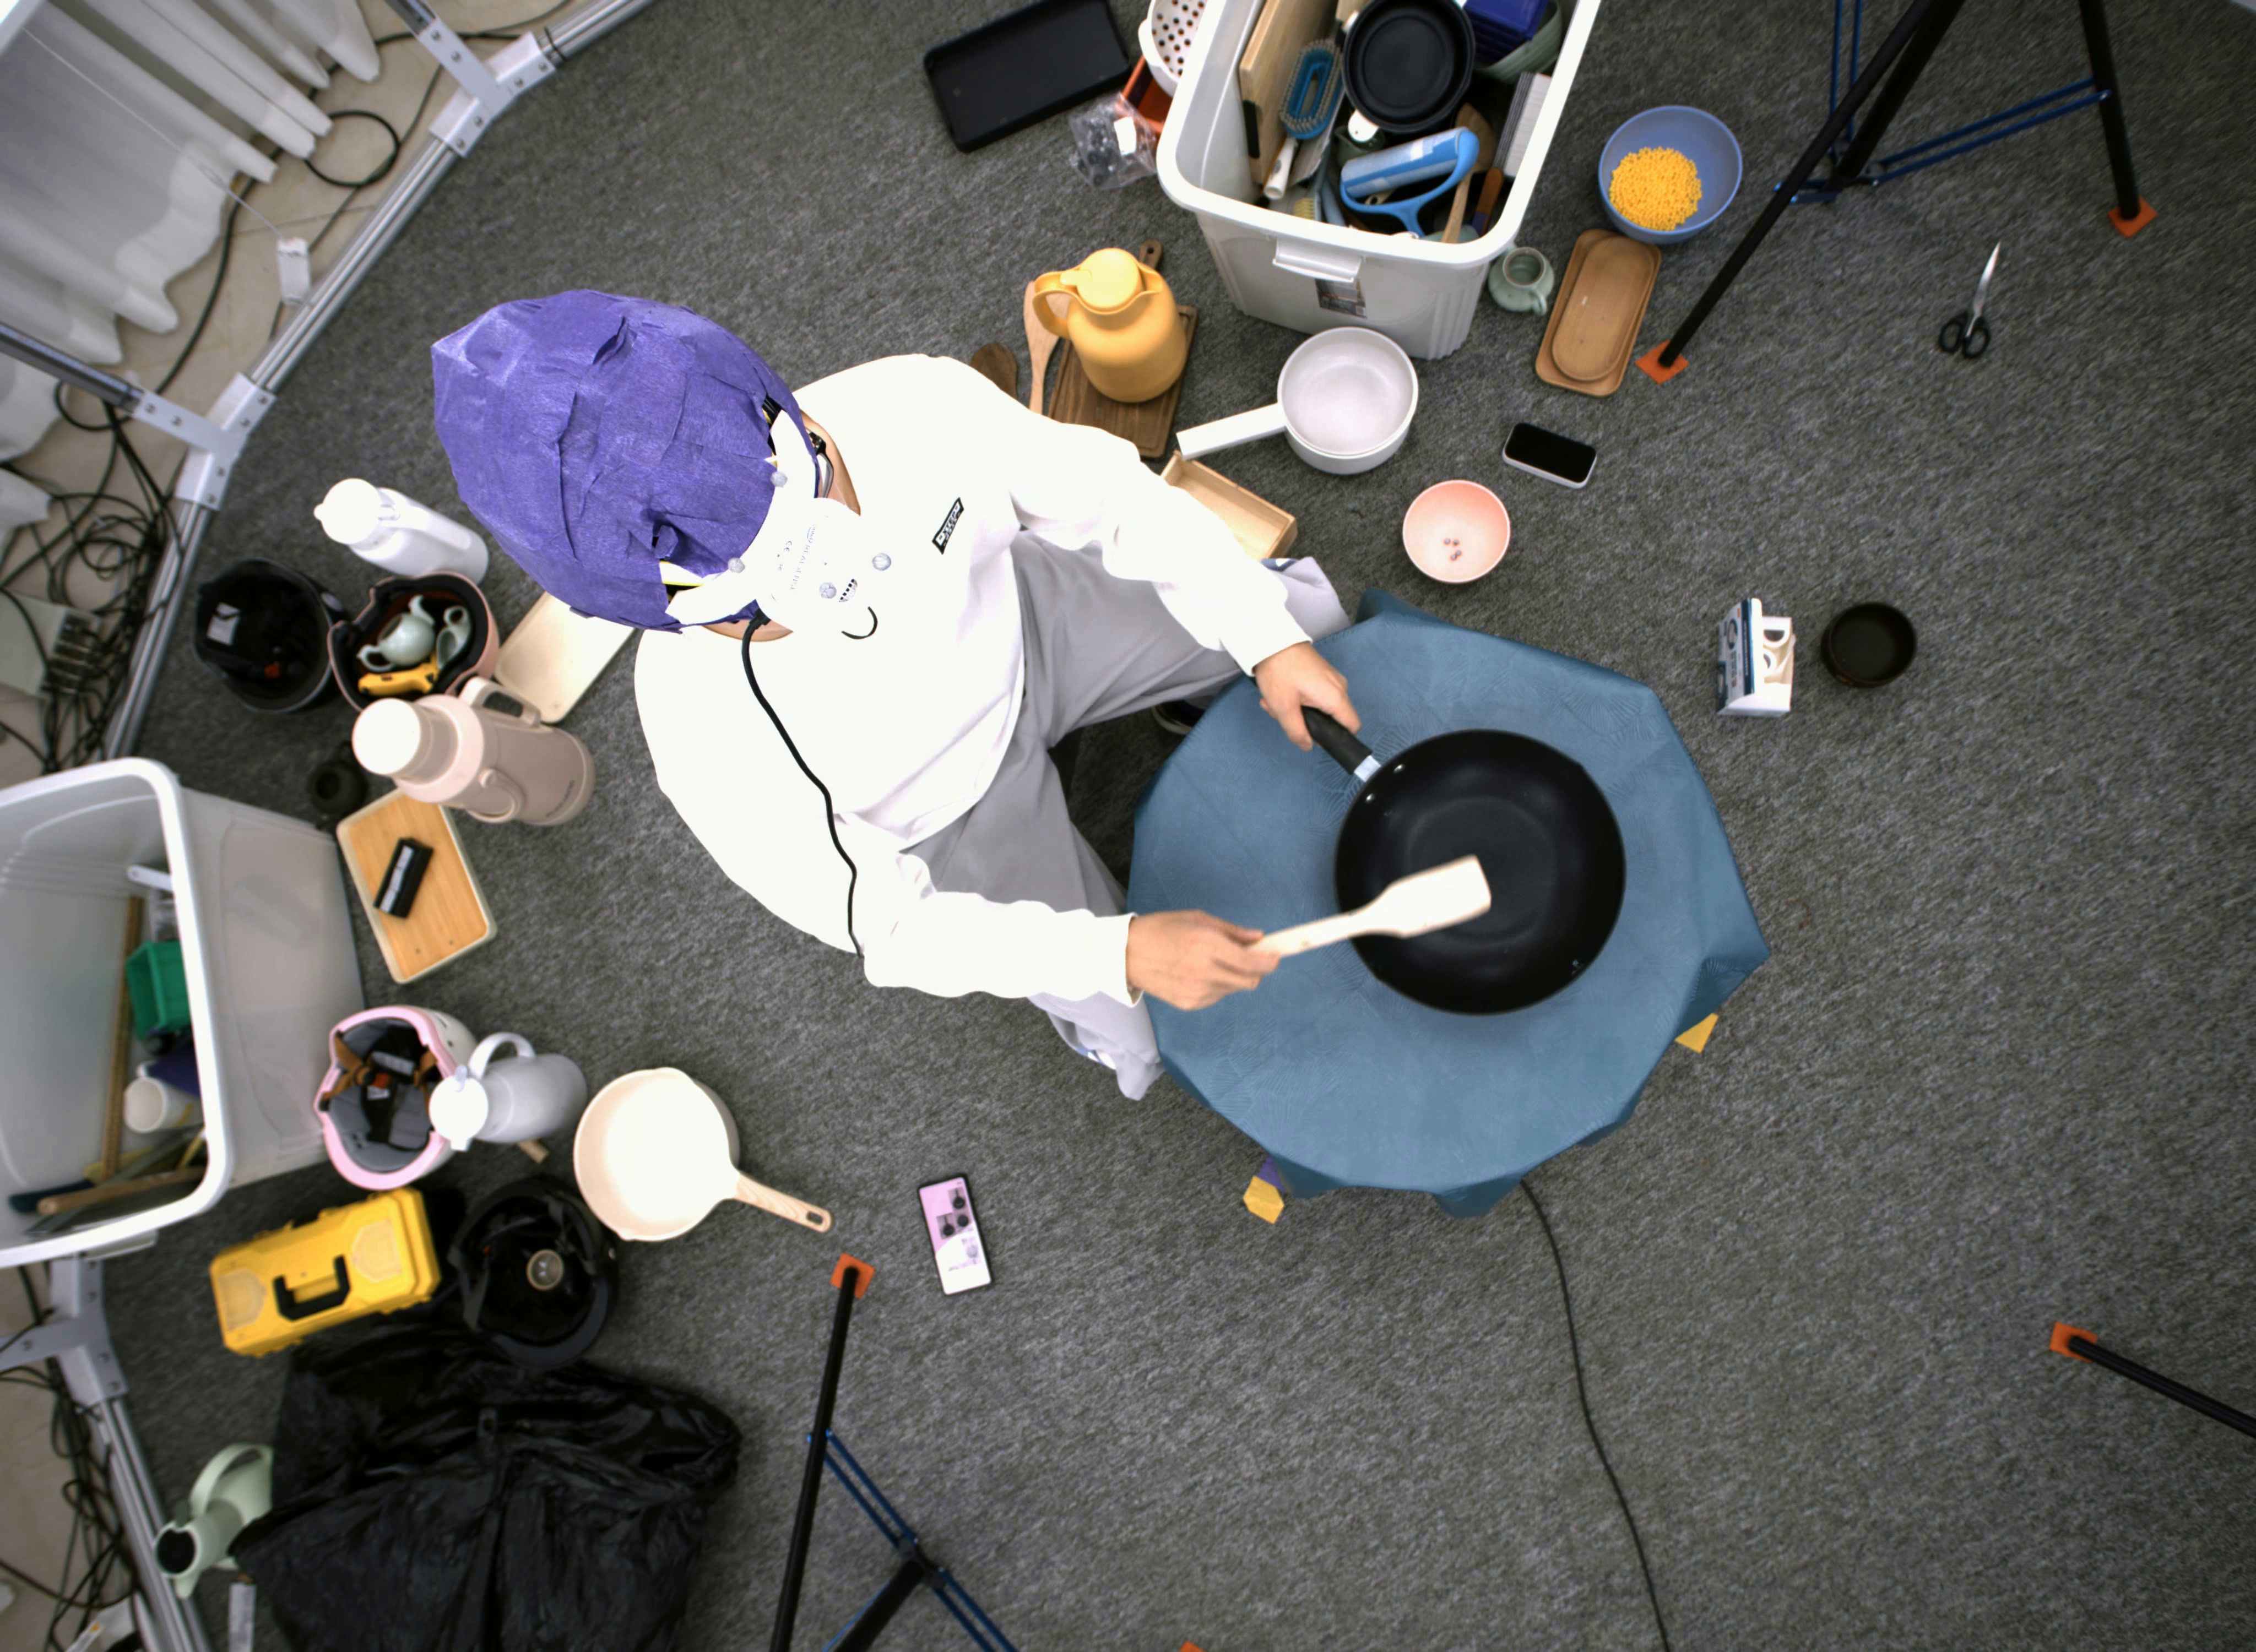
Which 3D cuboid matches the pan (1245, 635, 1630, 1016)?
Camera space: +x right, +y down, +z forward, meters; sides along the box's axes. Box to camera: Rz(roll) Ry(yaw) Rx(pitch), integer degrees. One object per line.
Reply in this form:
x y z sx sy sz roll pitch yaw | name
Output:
0.289 -0.021 1.389 0.461 0.086 0.292 45 106 11 | pan

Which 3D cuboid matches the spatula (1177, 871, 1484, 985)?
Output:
0.184 0.103 1.287 0.295 0.070 0.011 -17 126 14 | spatula
